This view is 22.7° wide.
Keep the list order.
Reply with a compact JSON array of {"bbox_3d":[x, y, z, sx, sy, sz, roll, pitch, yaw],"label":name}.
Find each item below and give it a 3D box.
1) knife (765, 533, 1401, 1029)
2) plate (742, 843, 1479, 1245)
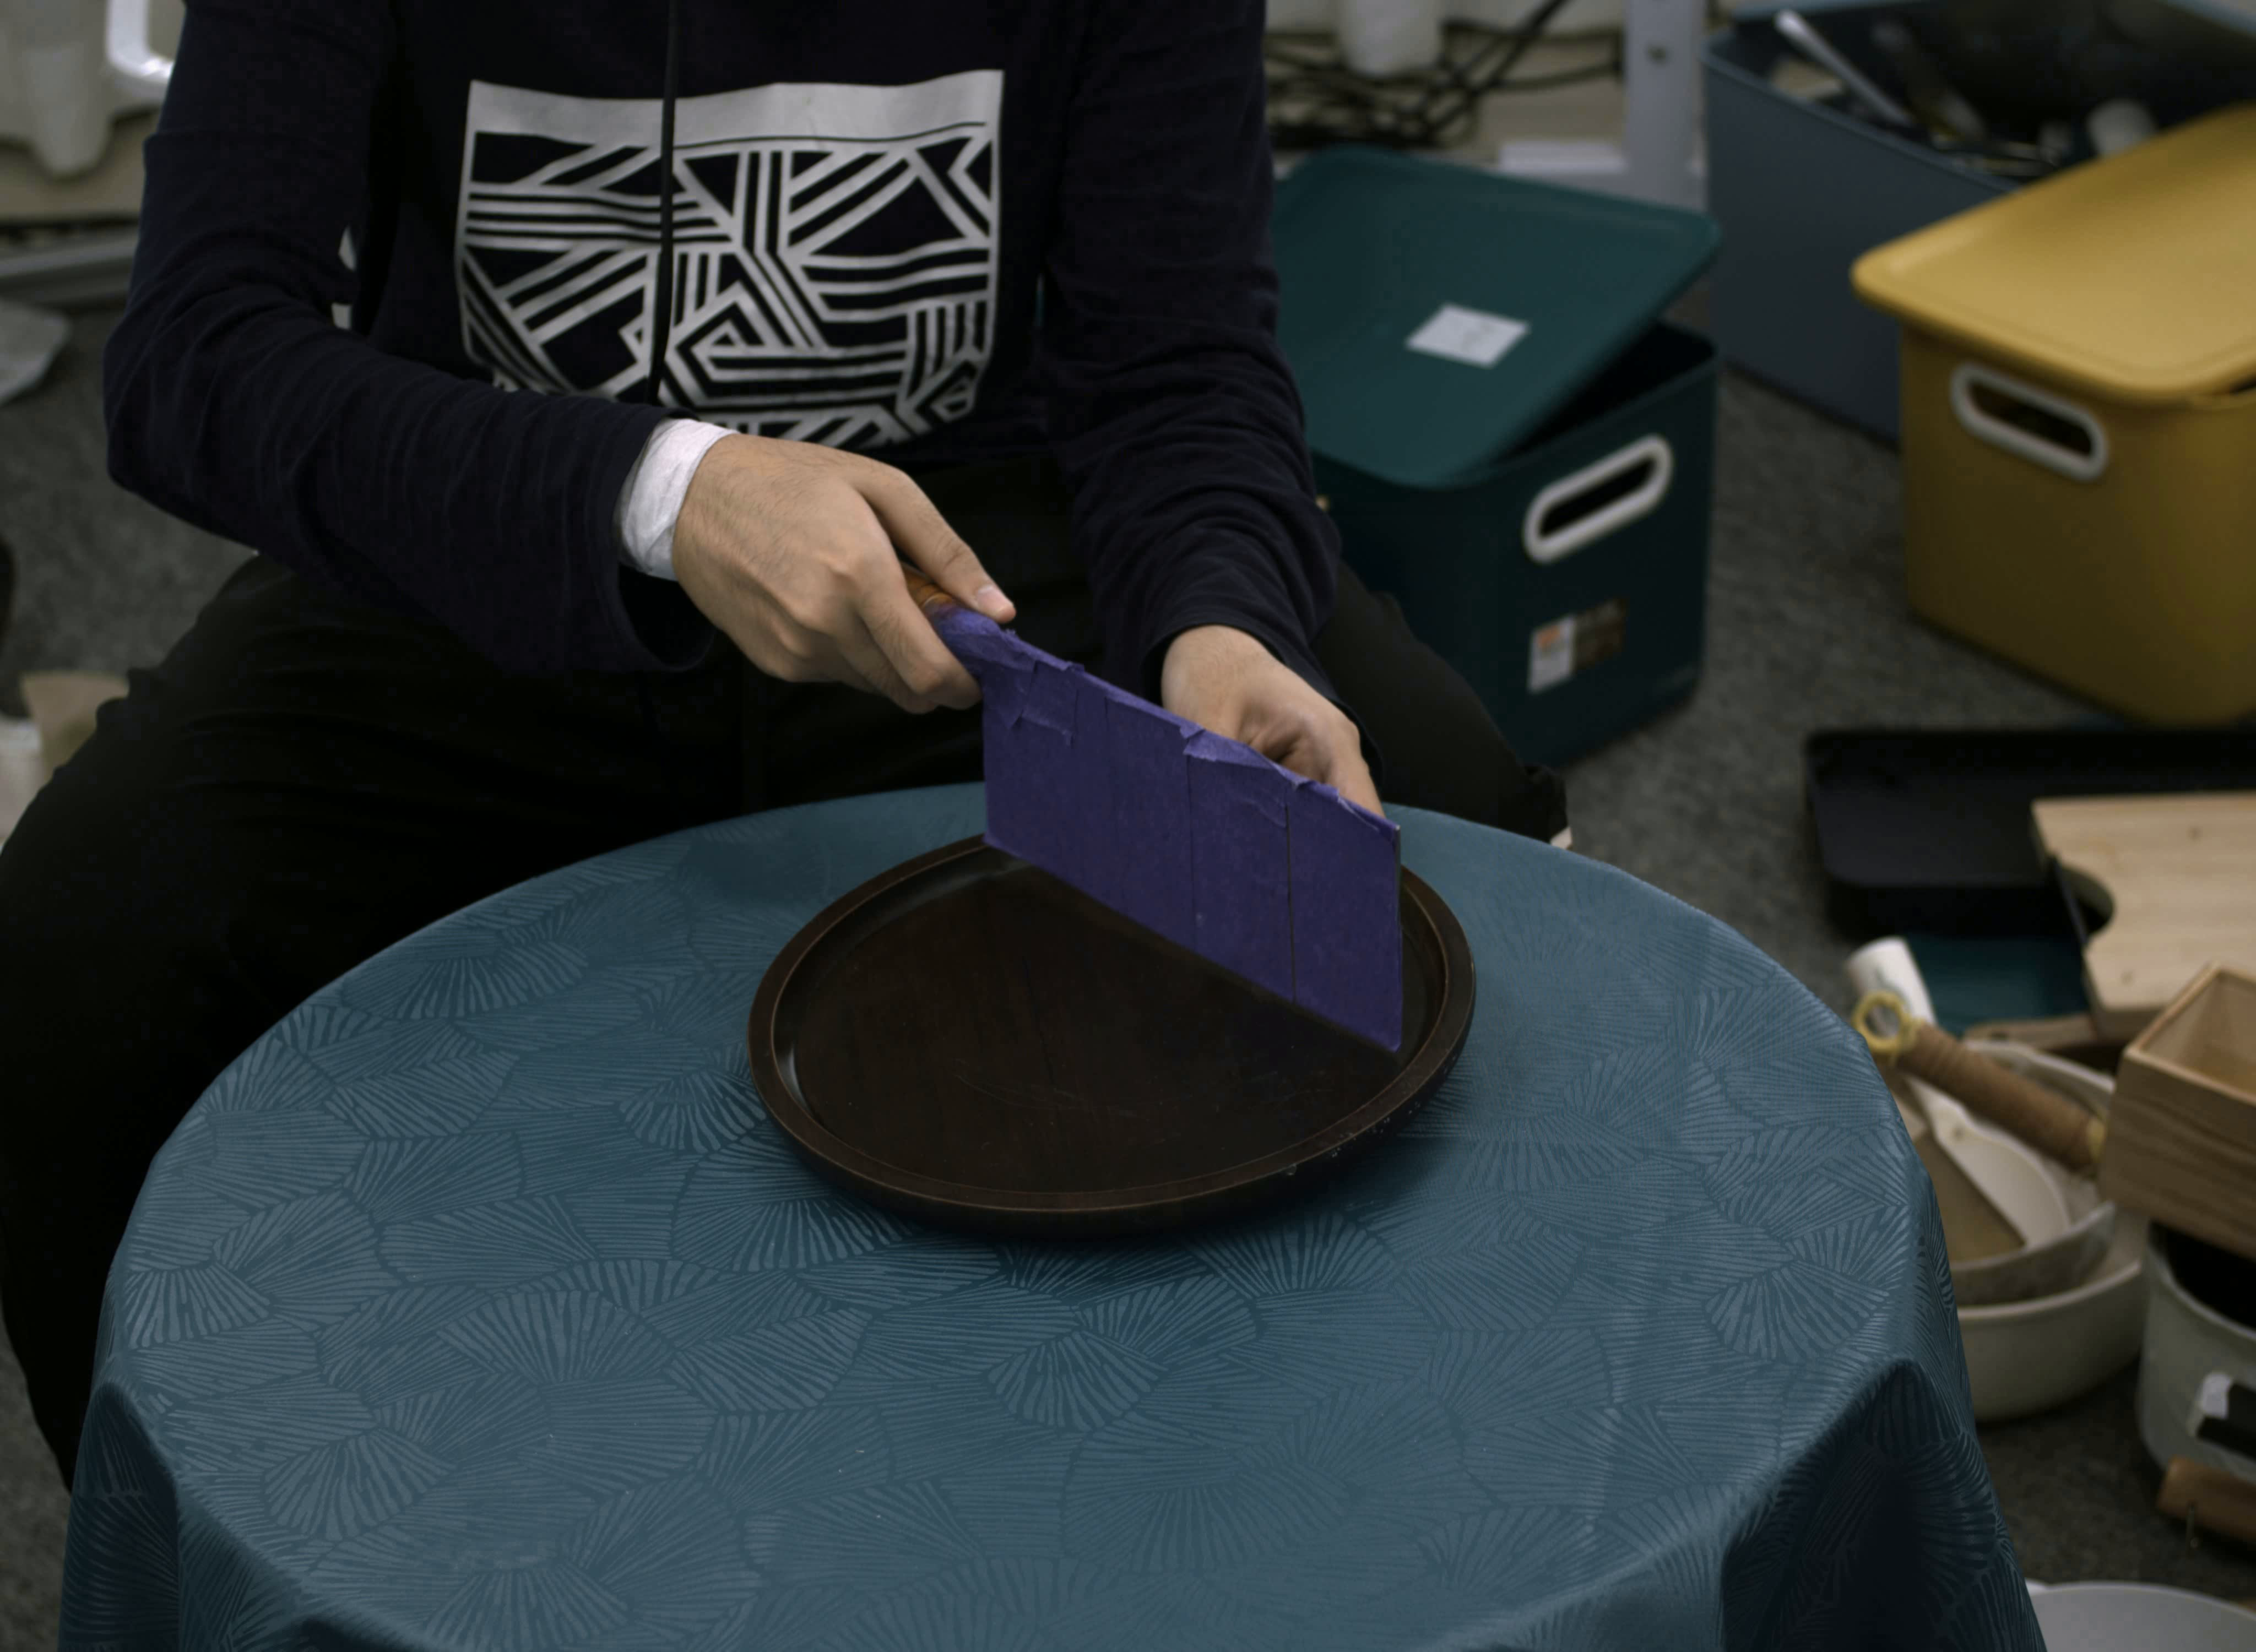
[{"bbox_3d":[-0.019,-0.014,1.962,0.032,0.103,0.315,-21,34,-36],"label":"knife"},{"bbox_3d":[-0.006,0.068,1.924,0.253,0.028,0.259,-4,31,2],"label":"plate"}]
